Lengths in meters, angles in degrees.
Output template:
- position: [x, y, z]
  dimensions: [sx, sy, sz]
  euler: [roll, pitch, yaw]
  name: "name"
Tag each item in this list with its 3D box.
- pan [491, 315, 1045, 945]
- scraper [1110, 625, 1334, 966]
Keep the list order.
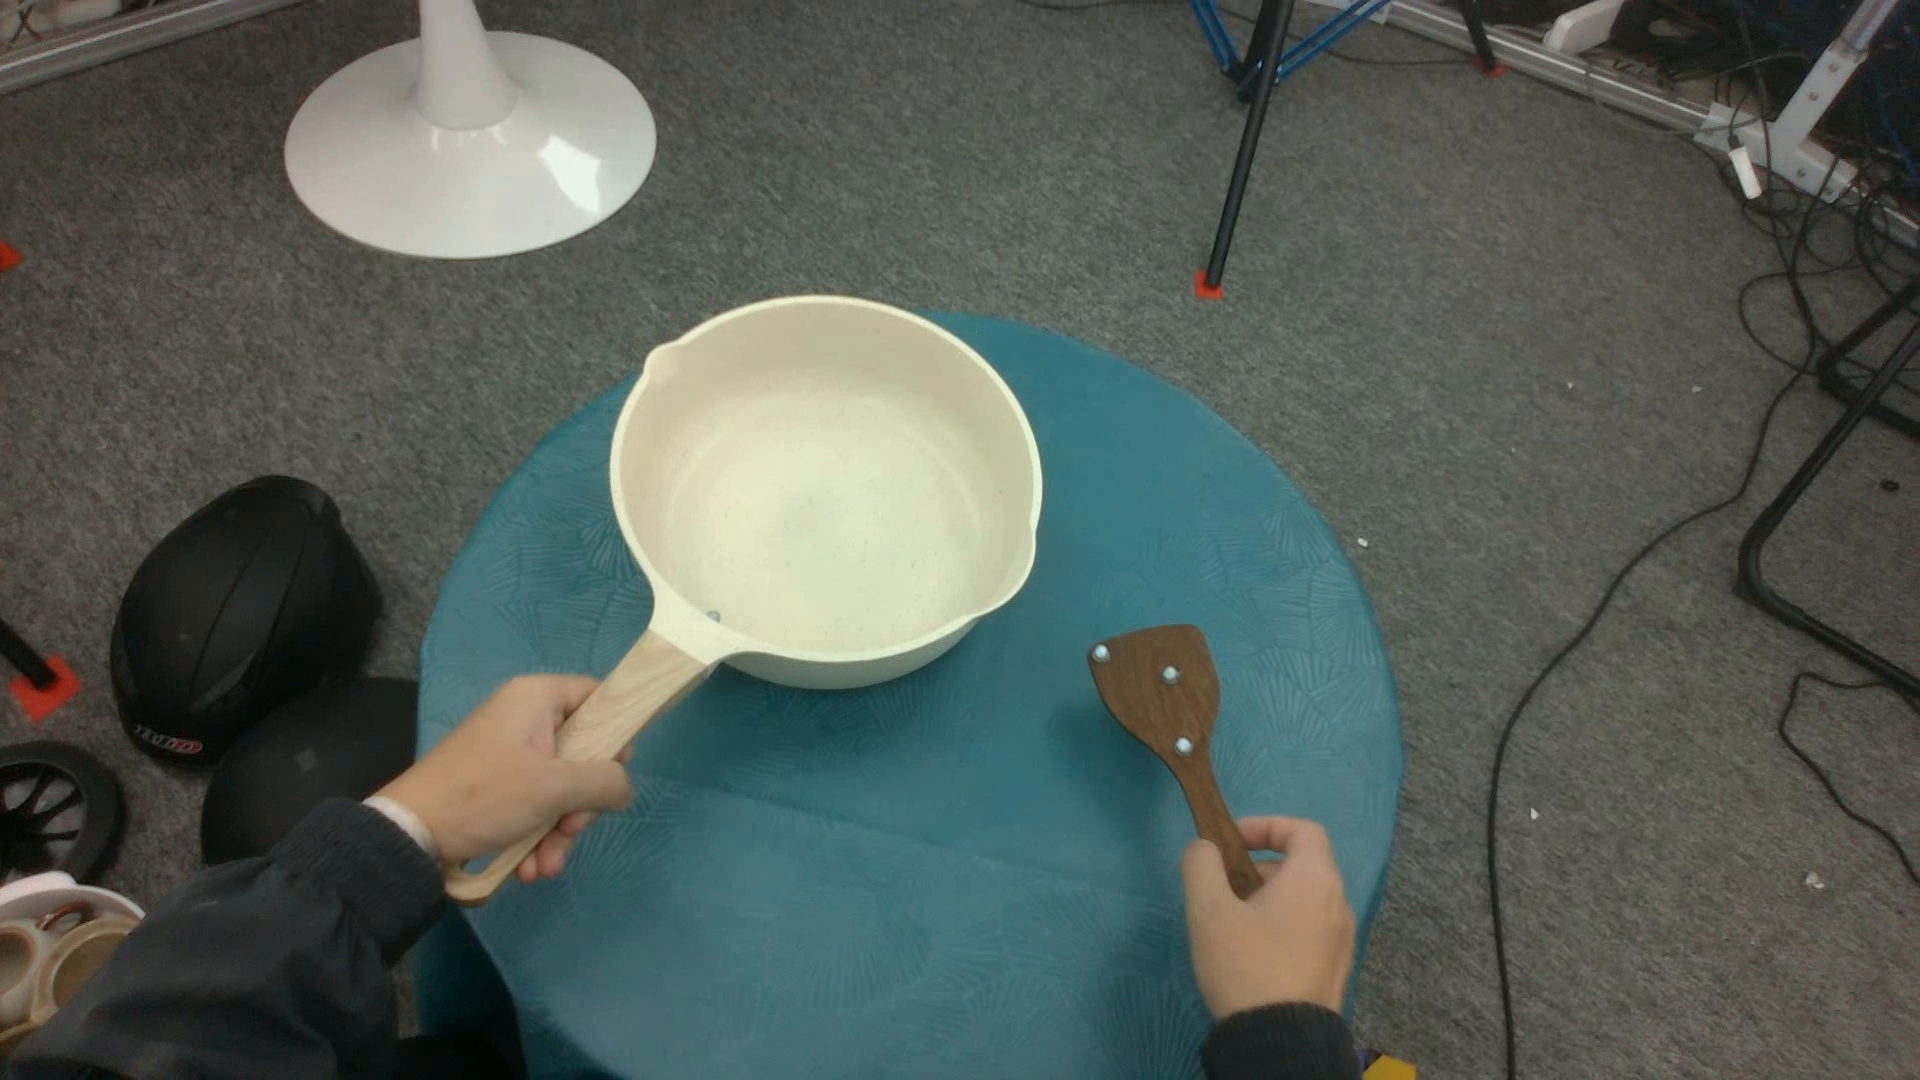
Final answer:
- position: [-0.120, 0.049, 0.800]
  dimensions: [0.263, 0.101, 0.437]
  euler: [29, 60, 8]
  name: "pan"
- position: [0.151, 0.136, 0.763]
  dimensions: [0.076, 0.011, 0.212]
  euler: [-14, 51, -8]
  name: "scraper"
